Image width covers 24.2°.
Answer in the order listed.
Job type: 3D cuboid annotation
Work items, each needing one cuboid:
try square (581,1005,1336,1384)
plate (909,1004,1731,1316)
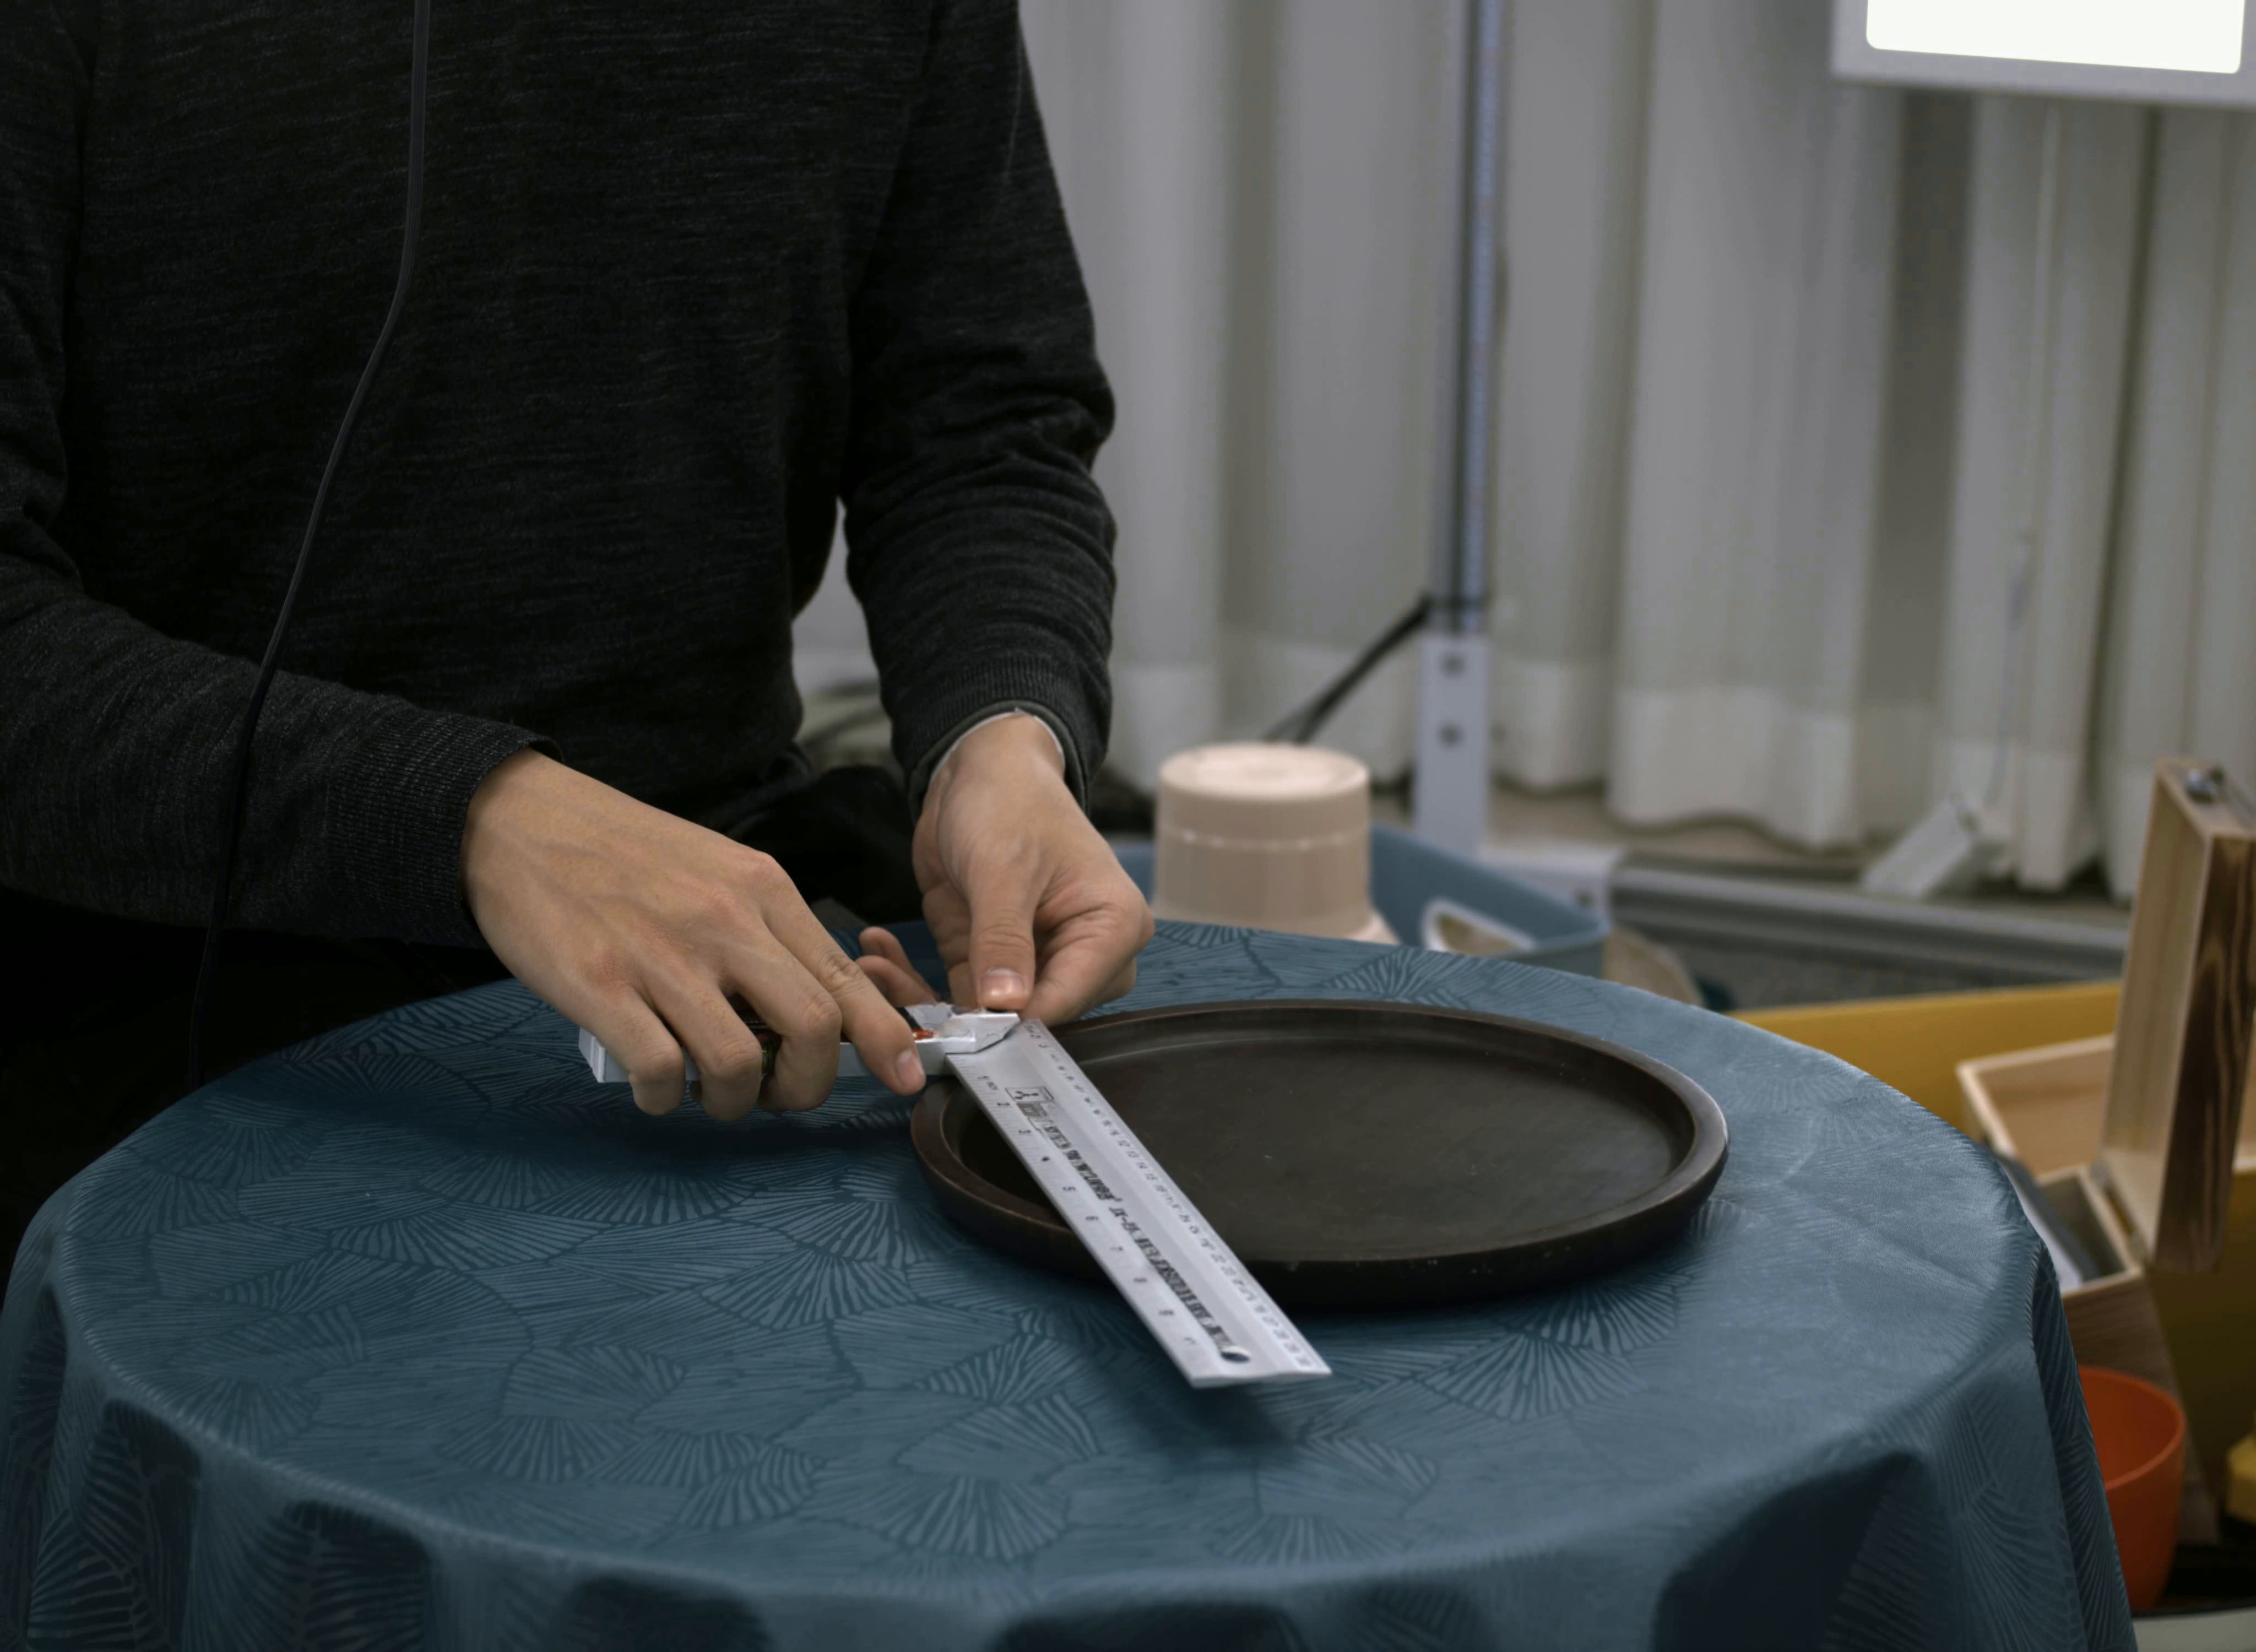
[{"bbox_3d":[-0.058,0.106,1.539,0.152,0.016,0.309,-1,16,-16],"label":"try square"},{"bbox_3d":[0.059,0.100,1.623,0.254,0.029,0.253,1,17,0],"label":"plate"}]
